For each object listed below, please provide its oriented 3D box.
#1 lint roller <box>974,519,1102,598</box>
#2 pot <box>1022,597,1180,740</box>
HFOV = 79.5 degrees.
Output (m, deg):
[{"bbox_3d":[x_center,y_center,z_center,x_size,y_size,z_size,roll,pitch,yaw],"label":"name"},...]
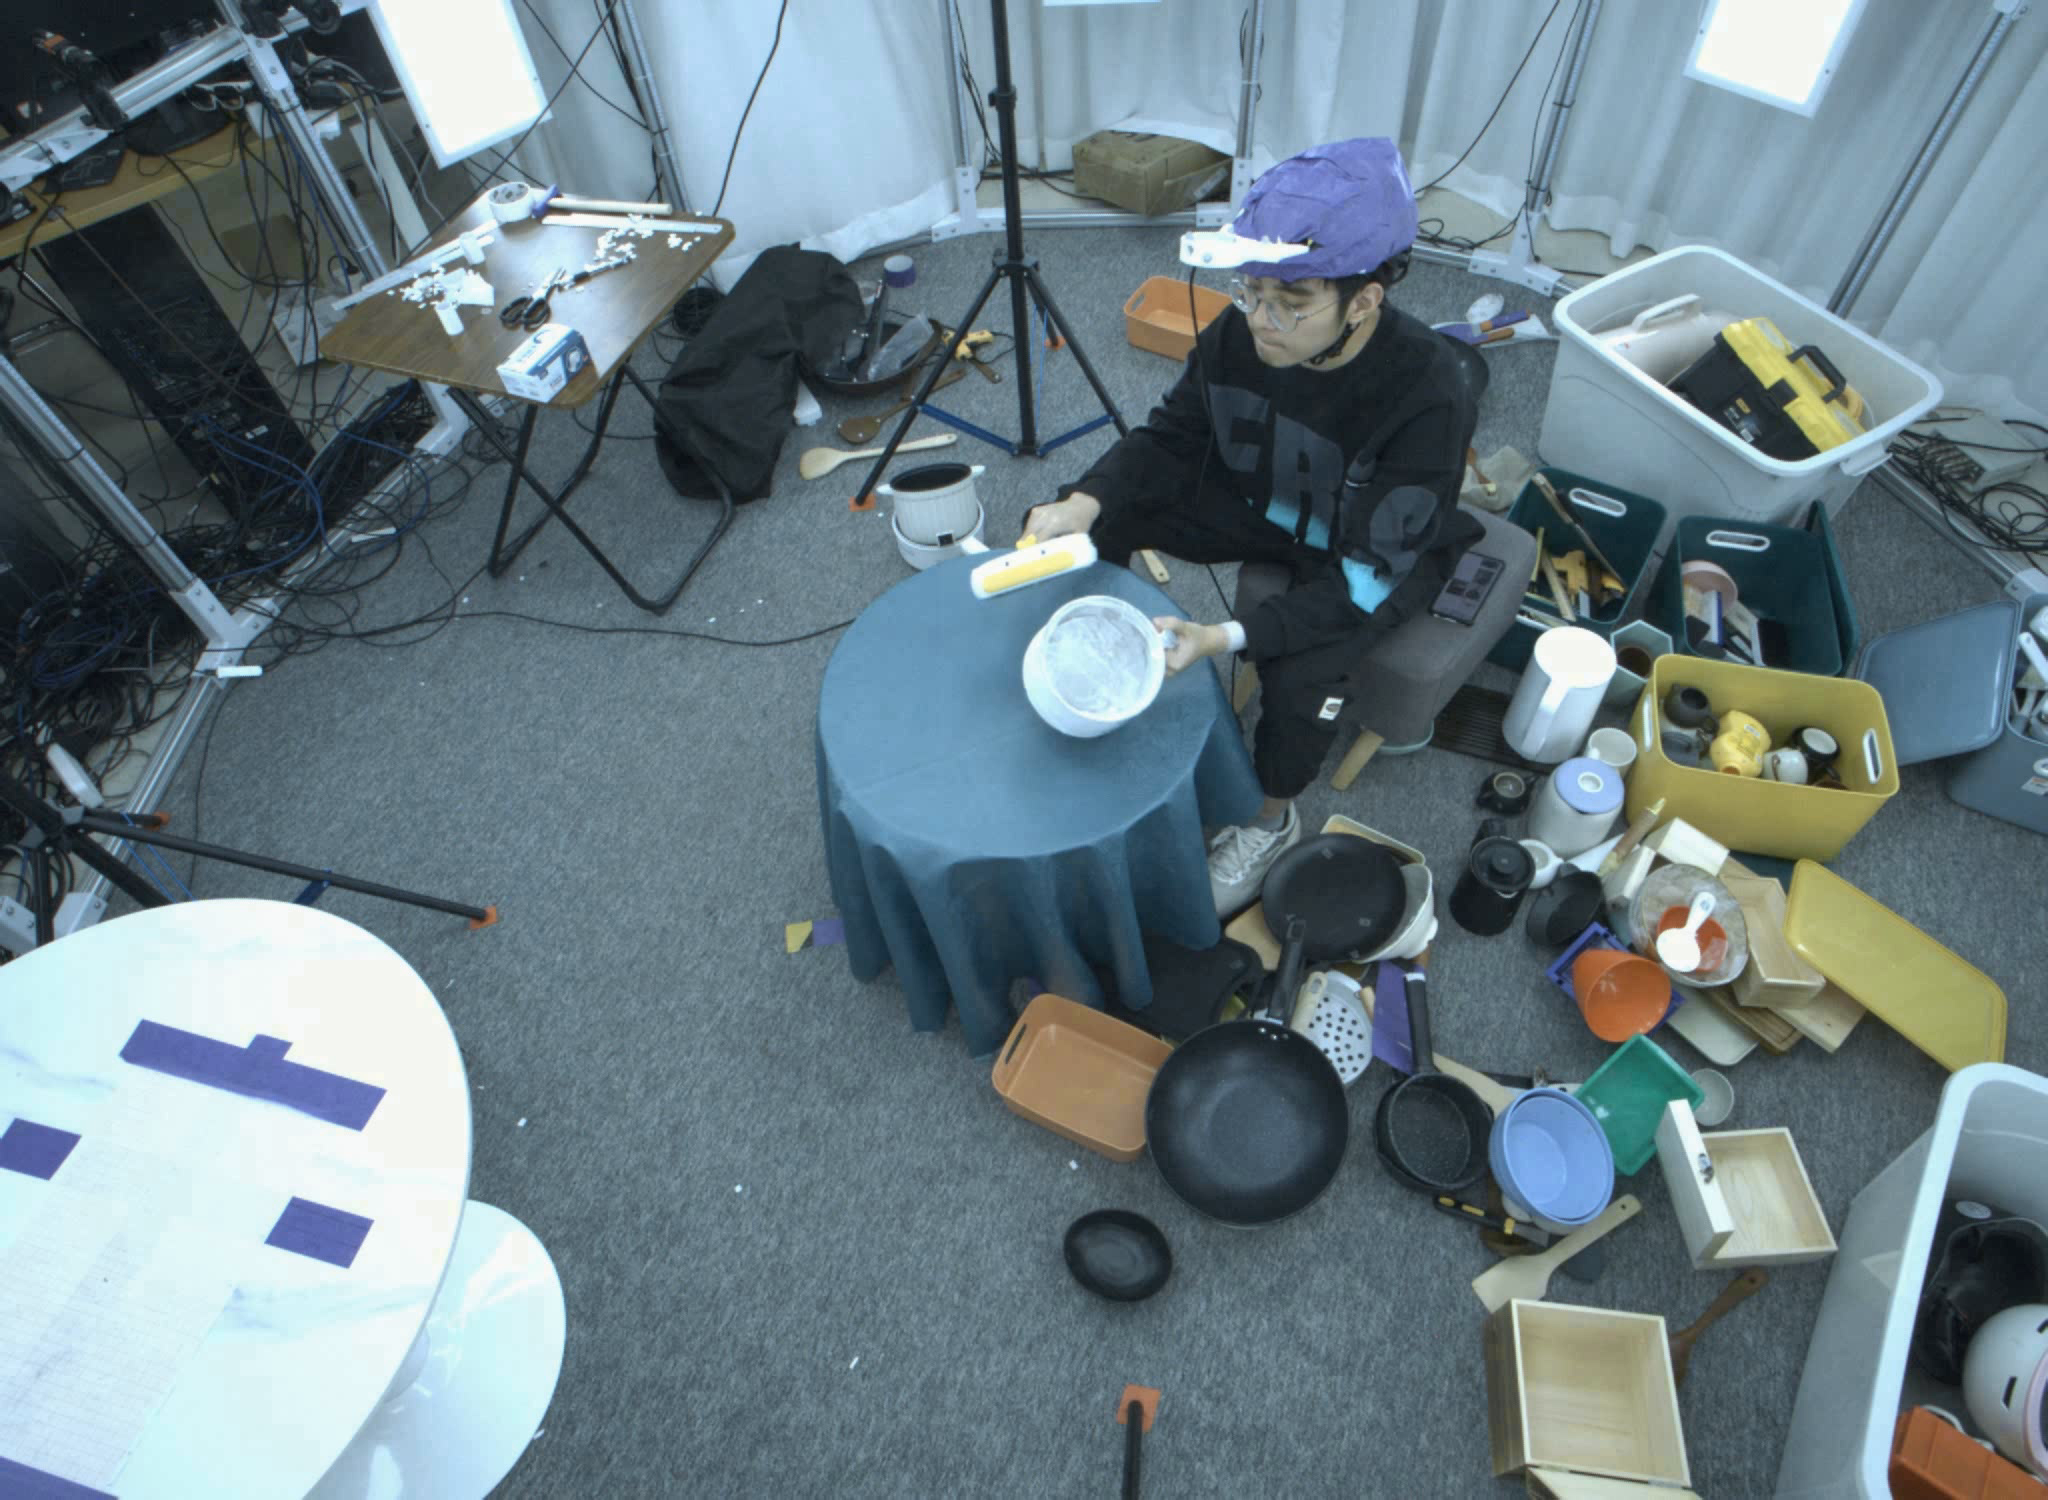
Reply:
[{"bbox_3d":[0.025,-0.297,1.830,0.191,0.075,0.192,-20,17,18],"label":"lint roller"},{"bbox_3d":[0.117,-0.119,1.715,0.236,0.135,0.178,-22,88,-18],"label":"pot"}]
